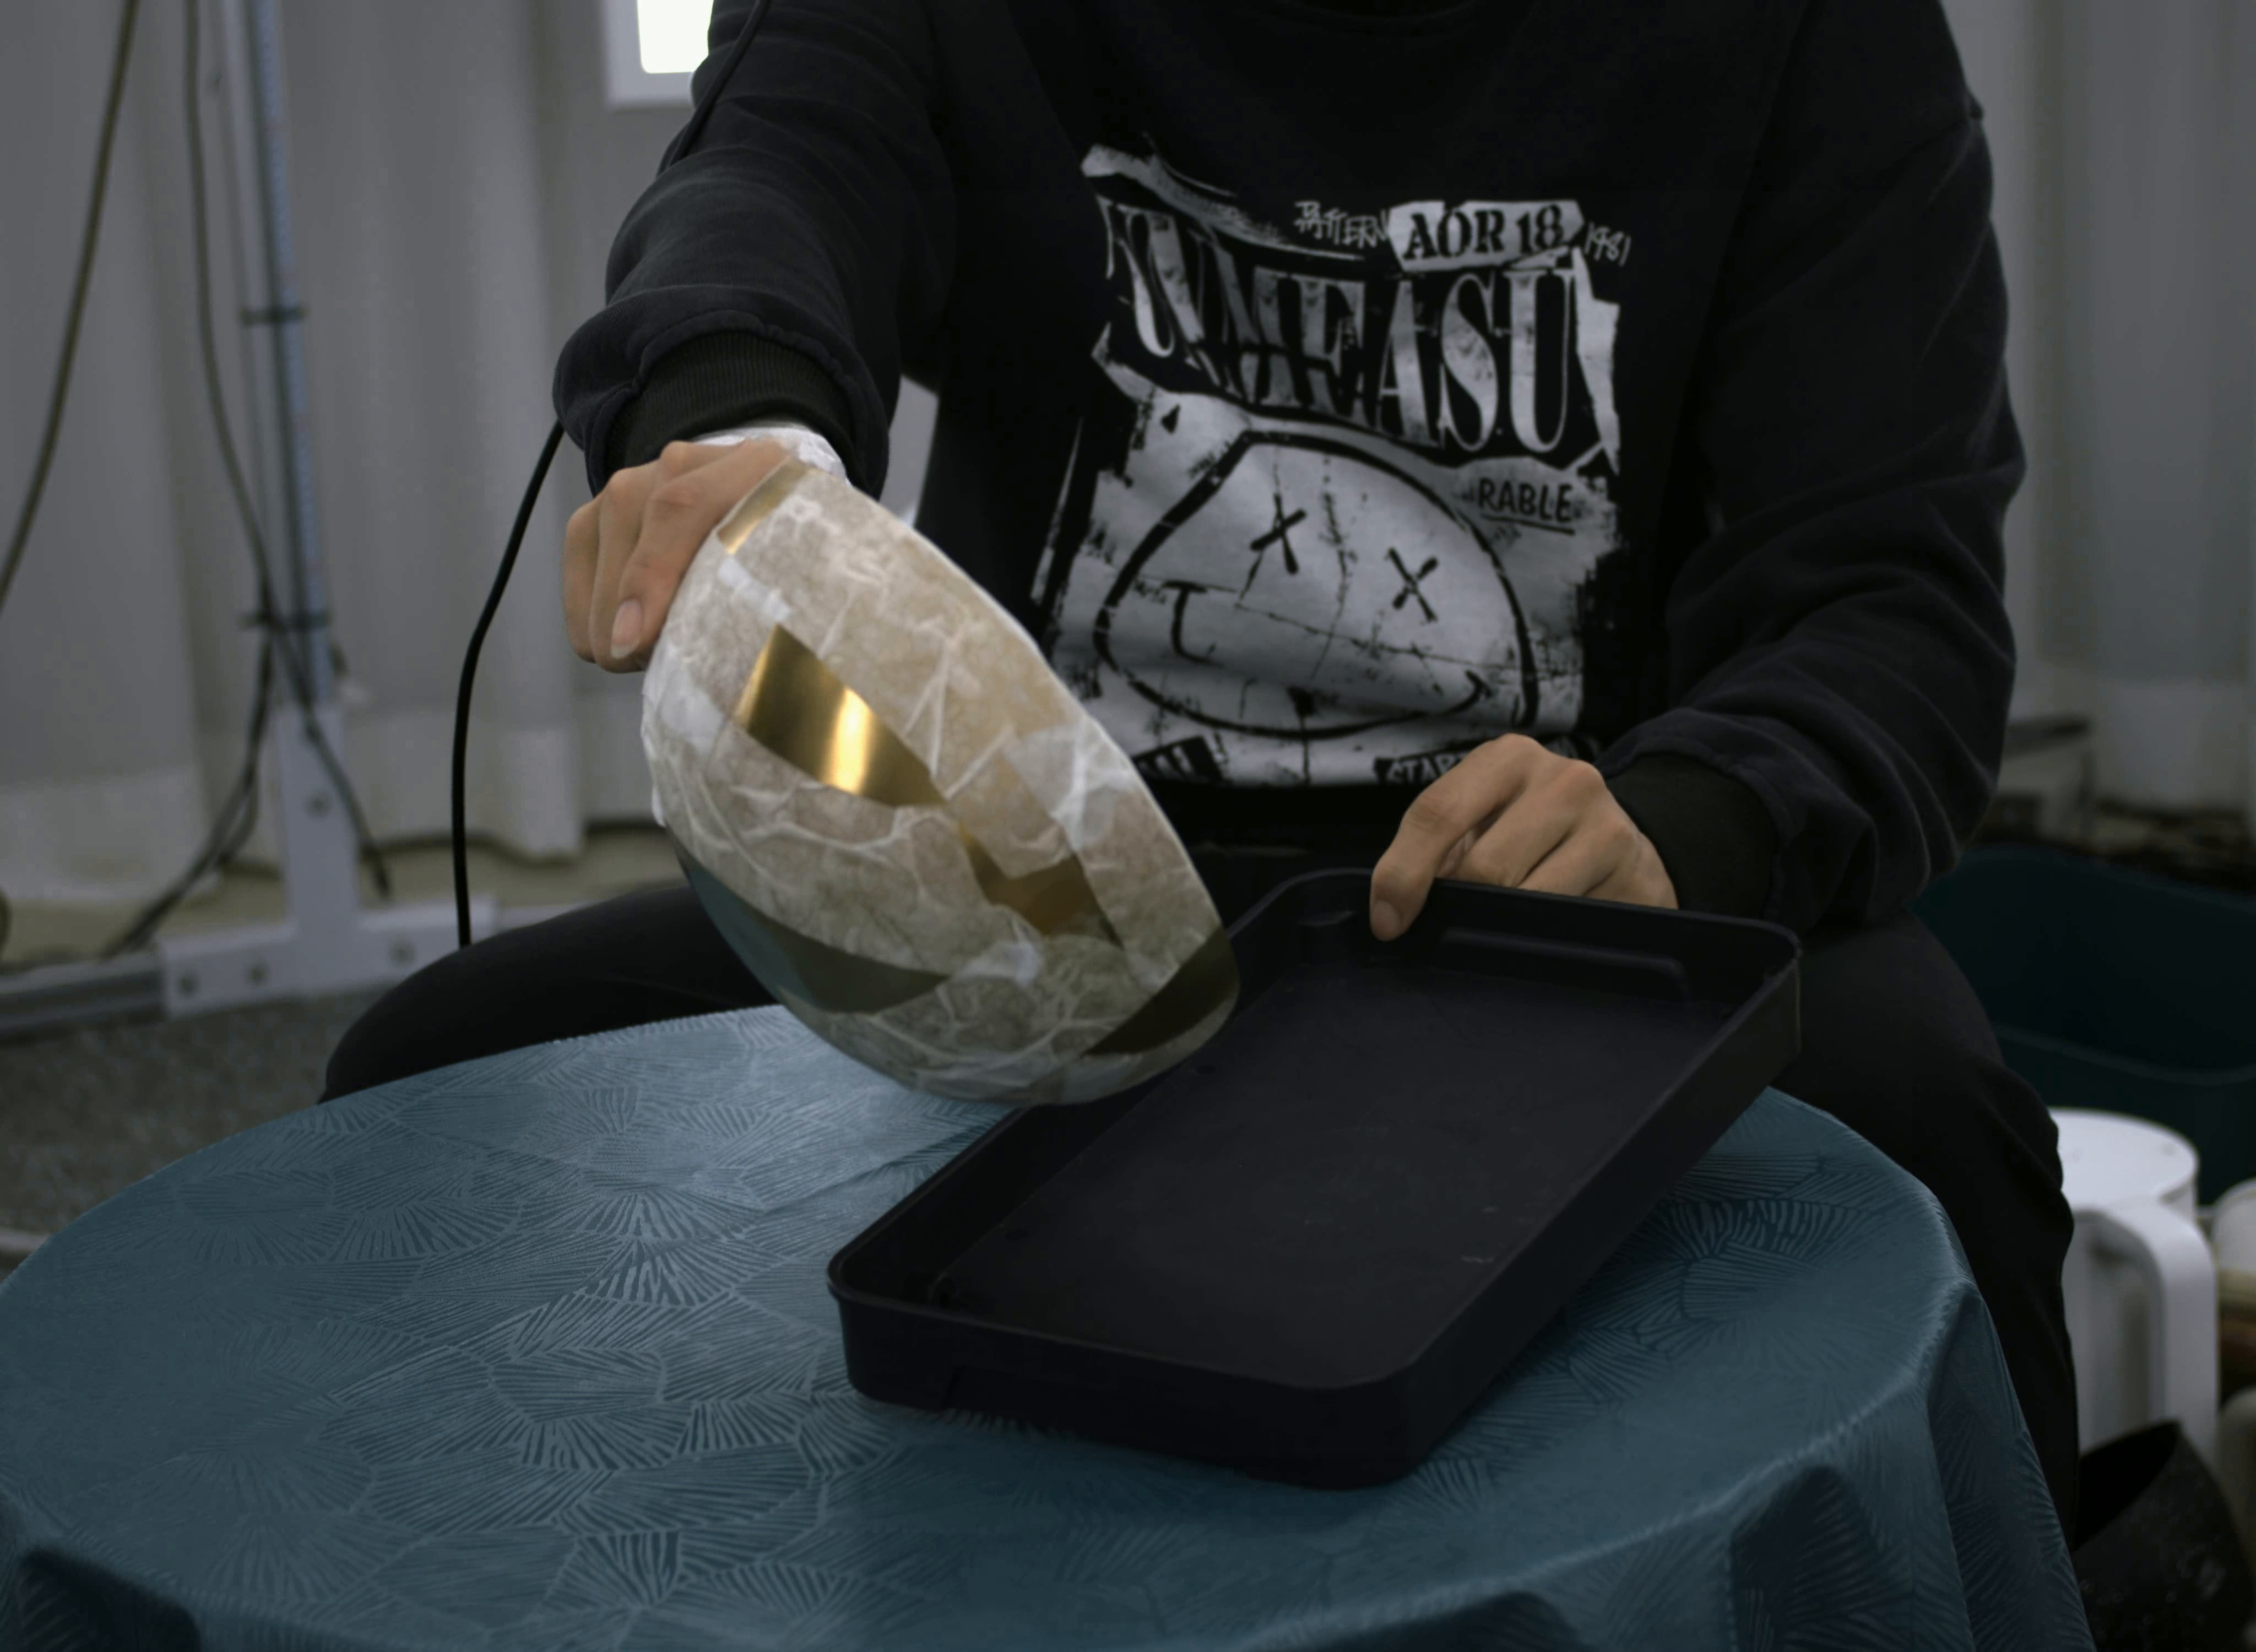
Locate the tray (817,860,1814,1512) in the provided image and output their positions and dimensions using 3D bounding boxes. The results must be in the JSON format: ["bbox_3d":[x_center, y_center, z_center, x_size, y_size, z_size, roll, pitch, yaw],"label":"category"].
[{"bbox_3d":[0.063,0.098,1.617,0.185,0.037,0.319,9,28,29],"label":"tray"}]

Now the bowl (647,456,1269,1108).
[{"bbox_3d":[-0.066,0.008,1.513,0.095,0.212,0.216,-41,27,-14],"label":"bowl"}]
